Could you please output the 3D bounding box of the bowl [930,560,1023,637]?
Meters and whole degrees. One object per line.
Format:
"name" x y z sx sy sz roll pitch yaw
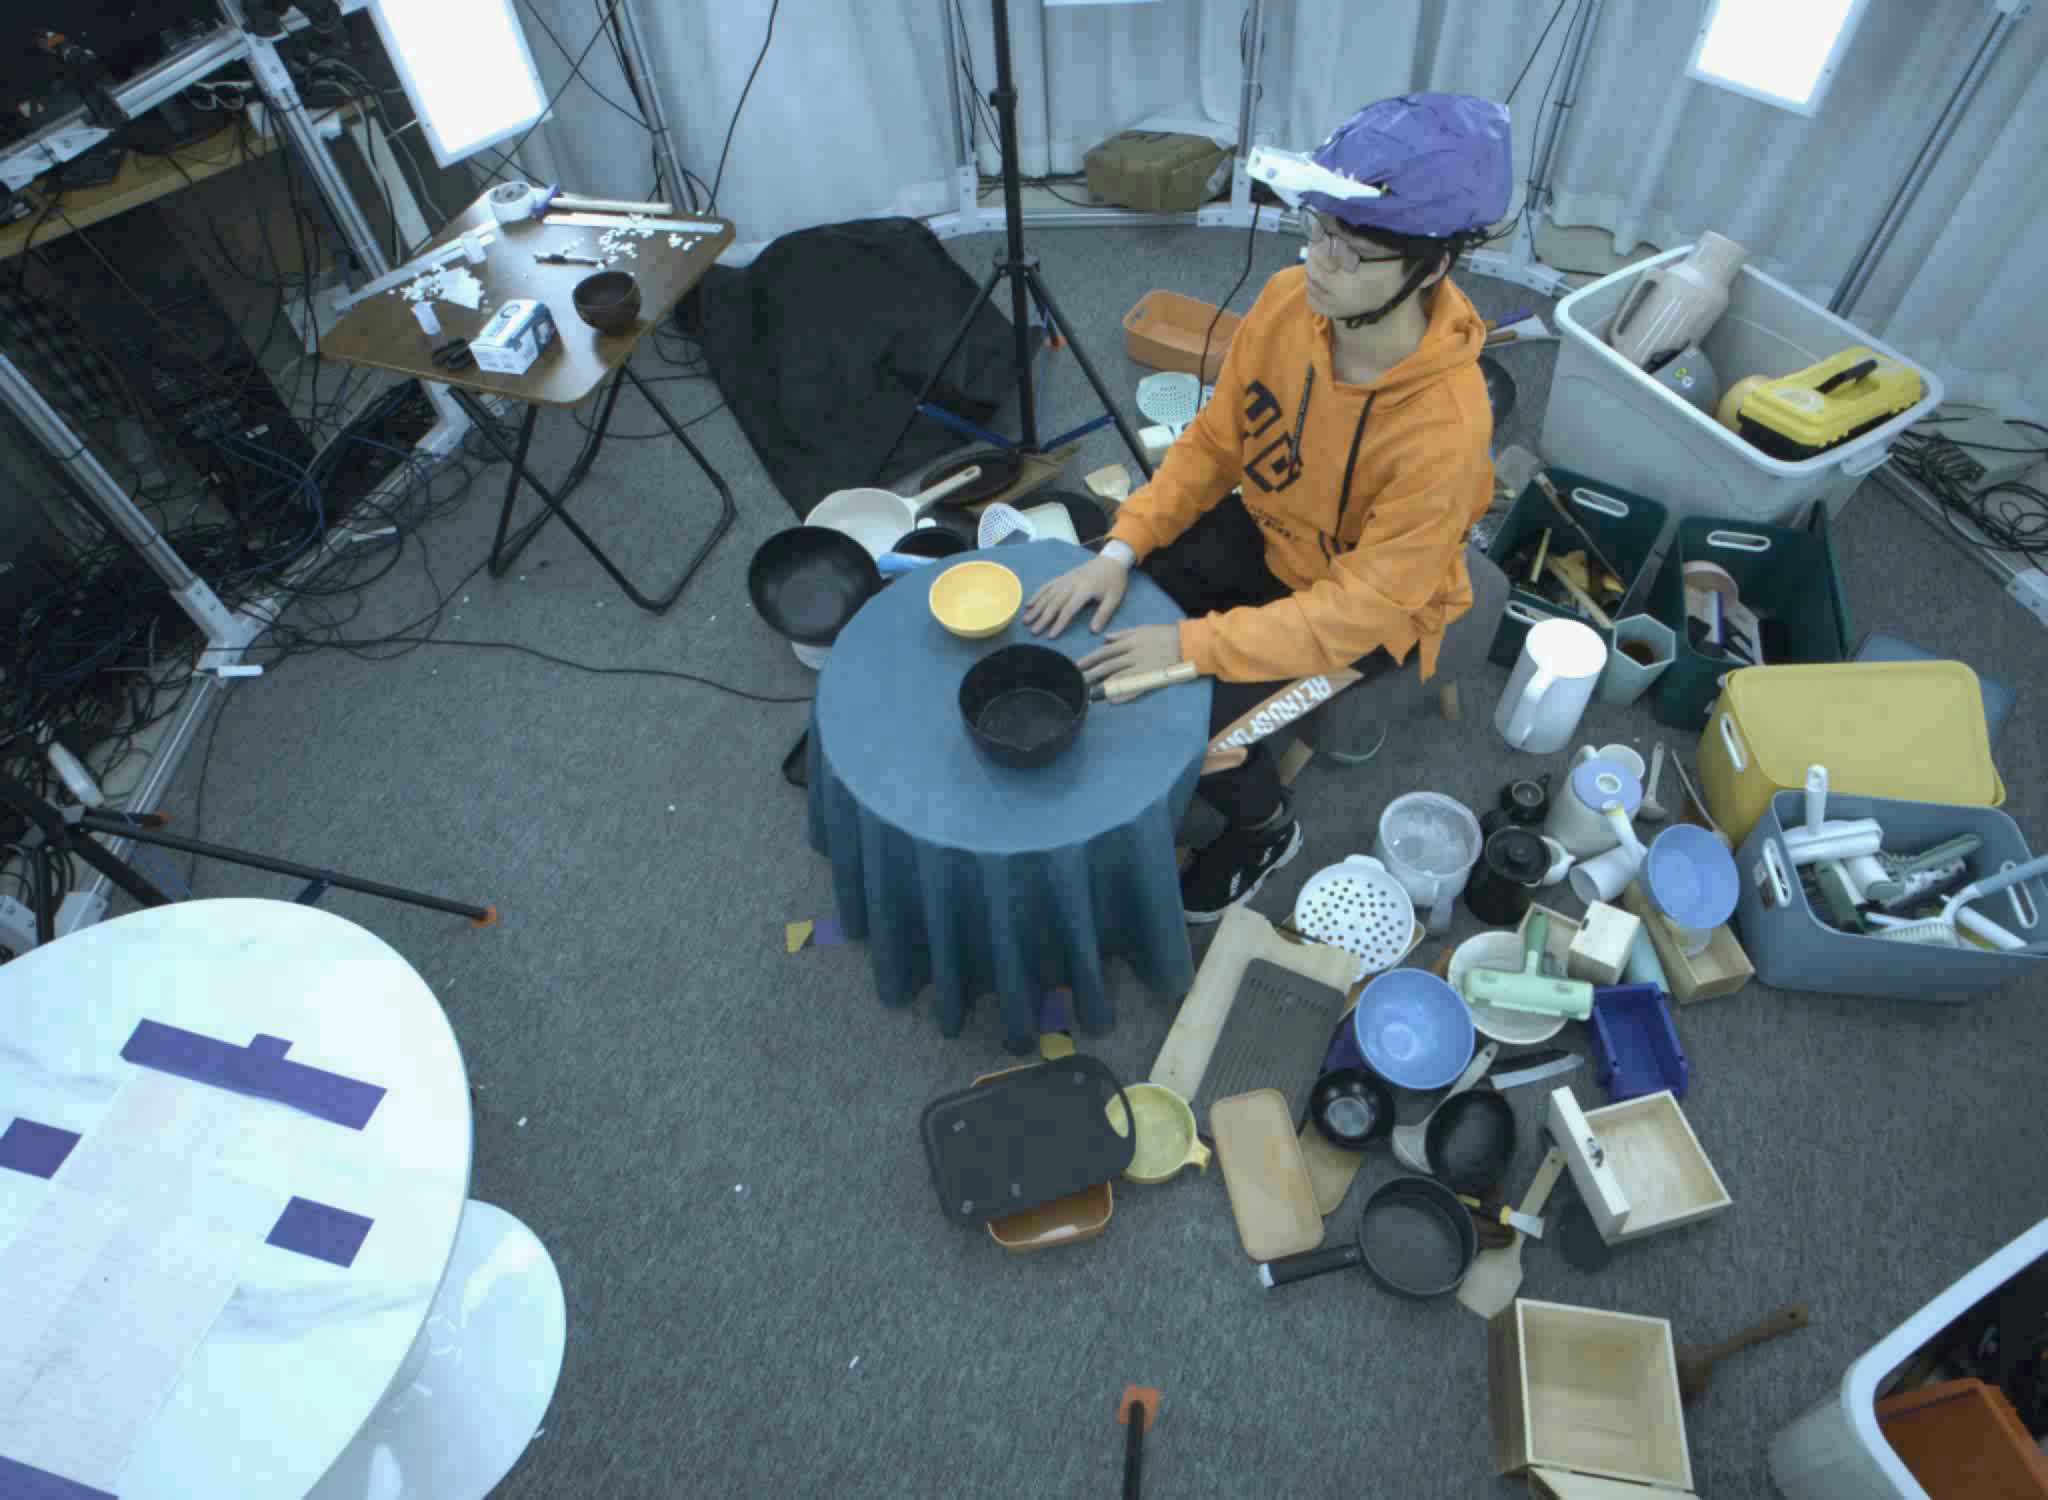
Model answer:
"bowl" -0.073 -0.224 1.912 0.145 0.061 0.144 0 56 1

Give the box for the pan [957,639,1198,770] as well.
"pan" 0.078 -0.072 1.769 0.343 0.109 0.204 -7 53 -1
